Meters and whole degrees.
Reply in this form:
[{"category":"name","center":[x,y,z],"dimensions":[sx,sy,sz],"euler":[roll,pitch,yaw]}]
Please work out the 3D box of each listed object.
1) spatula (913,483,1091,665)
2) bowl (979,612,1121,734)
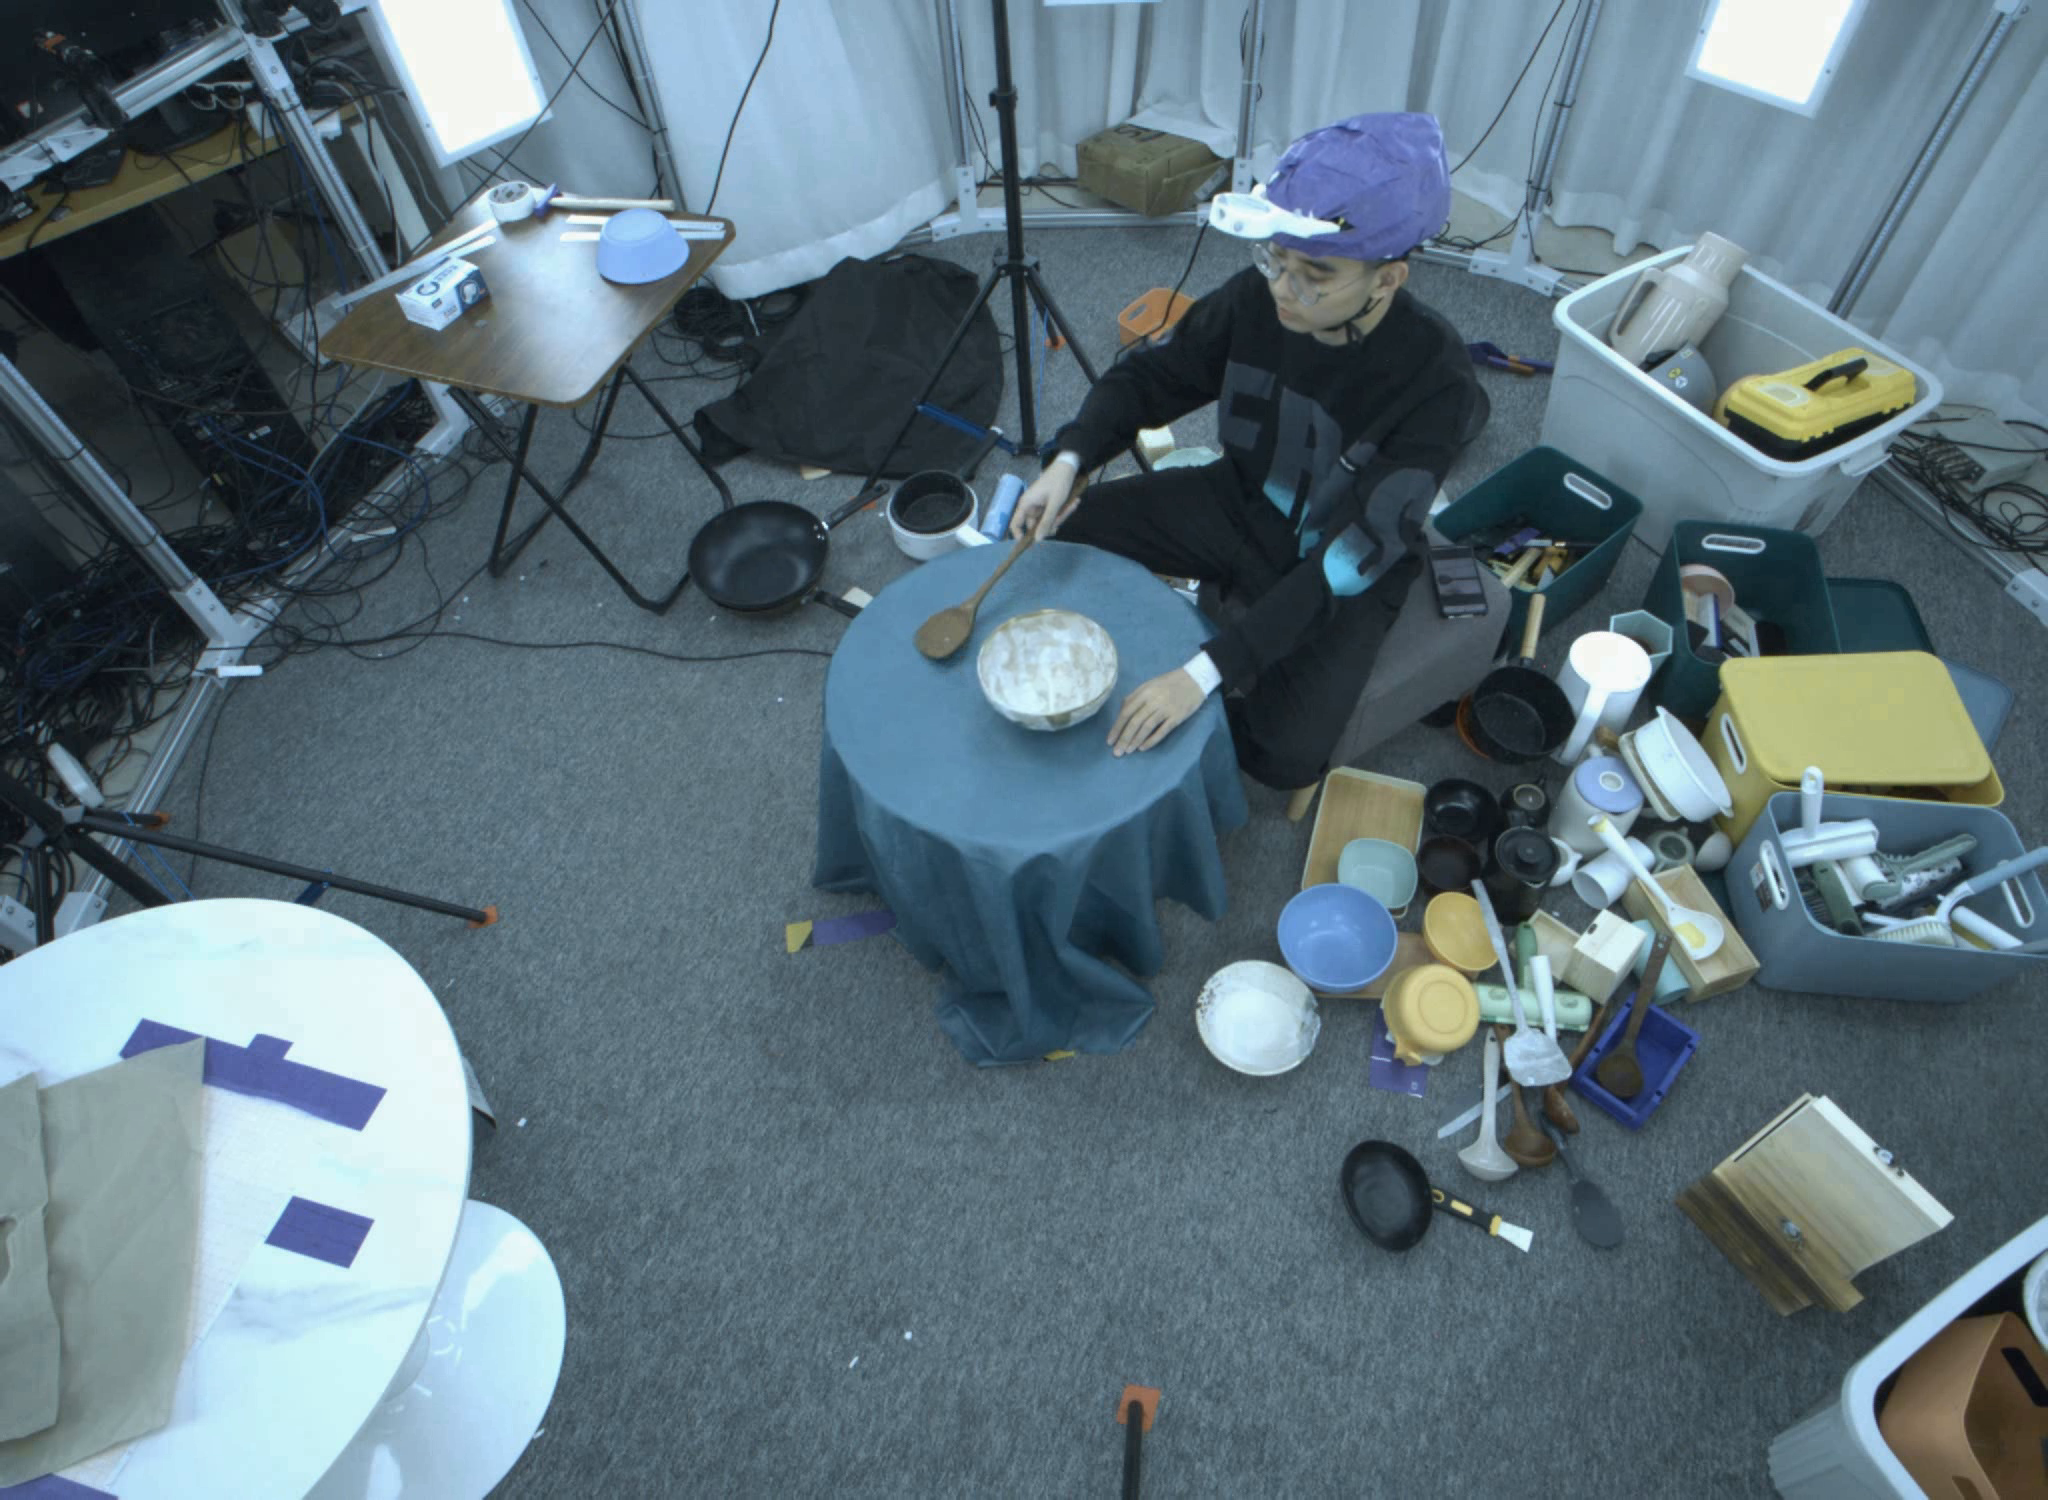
[{"category":"spatula","center":[-0.027,-0.284,1.924],"dimensions":[0.386,0.016,0.094],"euler":[-49,53,-7]},{"category":"bowl","center":[0.042,-0.097,1.807],"dimensions":[0.214,0.095,0.212],"euler":[-1,53,2]}]
